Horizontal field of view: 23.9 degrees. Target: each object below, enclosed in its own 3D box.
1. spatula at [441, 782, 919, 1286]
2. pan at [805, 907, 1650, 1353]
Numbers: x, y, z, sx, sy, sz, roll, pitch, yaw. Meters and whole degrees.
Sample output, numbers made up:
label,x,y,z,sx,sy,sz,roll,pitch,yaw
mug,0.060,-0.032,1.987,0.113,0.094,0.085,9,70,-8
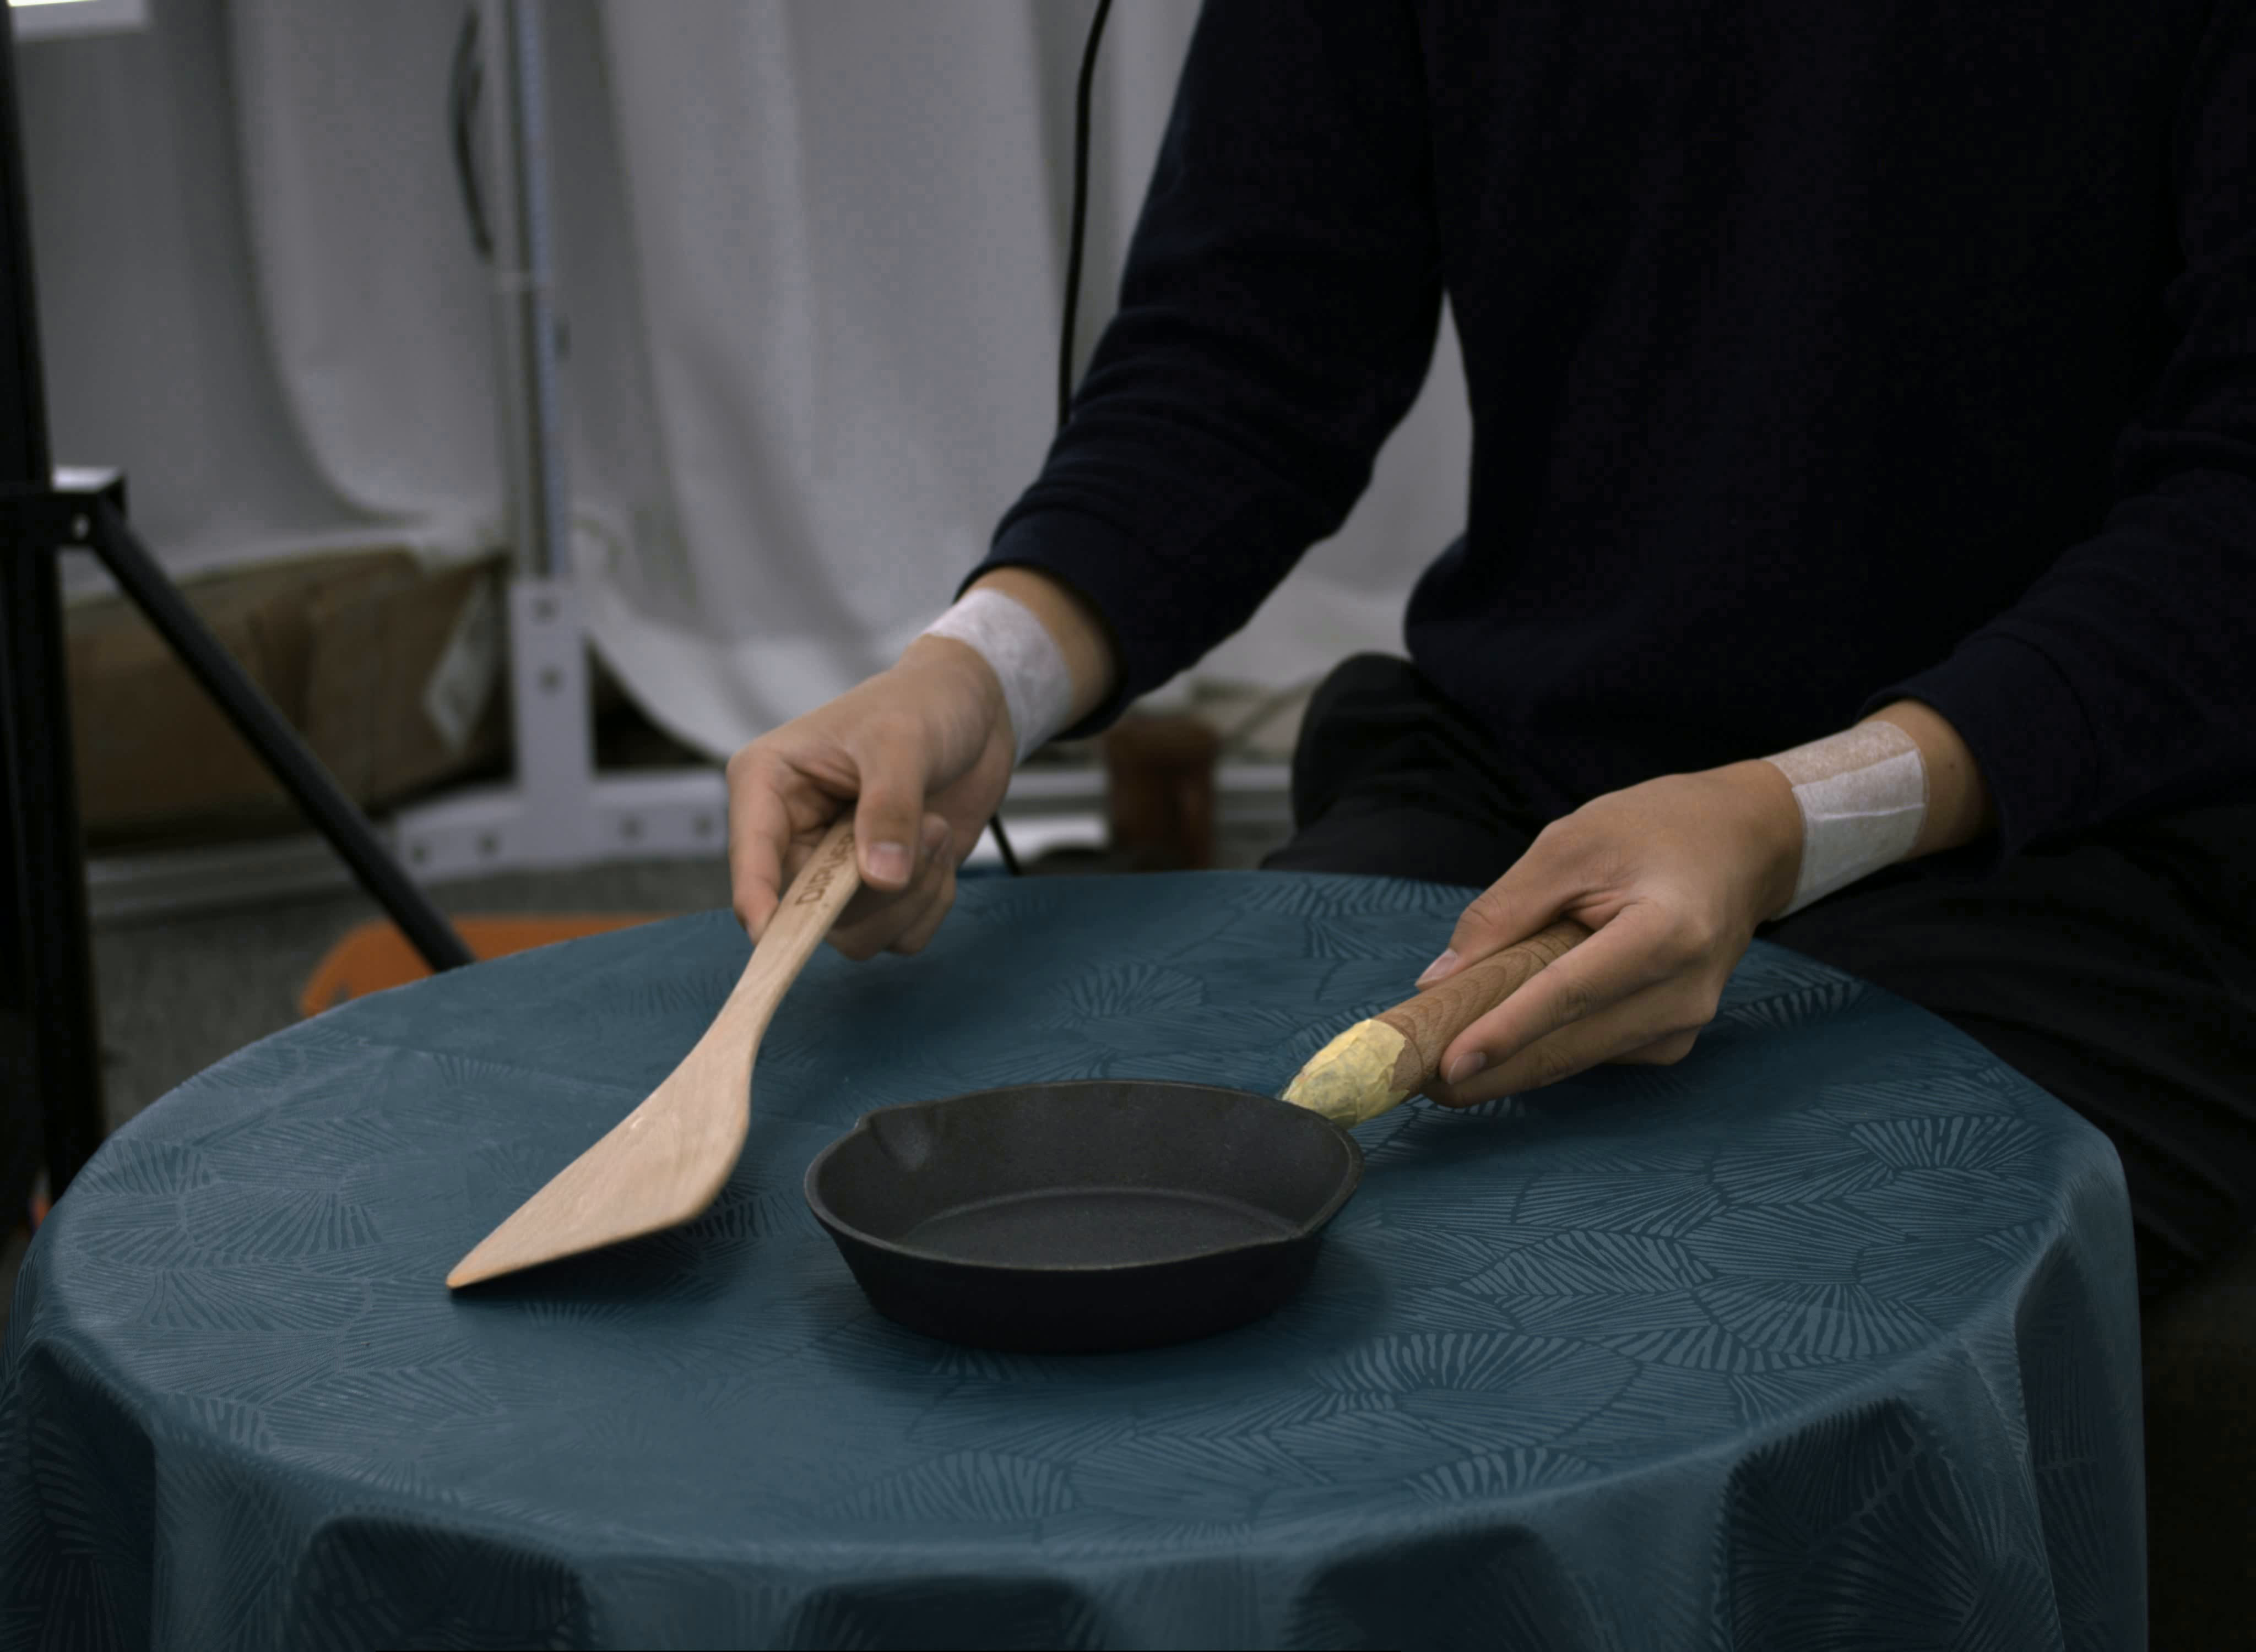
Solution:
label,x,y,z,sx,sy,sz,roll,pitch,yaw
spatula,-0.119,0.055,1.627,0.081,0.016,0.326,-17,20,23
pan,0.047,0.084,1.541,0.317,0.049,0.173,-19,22,-40
